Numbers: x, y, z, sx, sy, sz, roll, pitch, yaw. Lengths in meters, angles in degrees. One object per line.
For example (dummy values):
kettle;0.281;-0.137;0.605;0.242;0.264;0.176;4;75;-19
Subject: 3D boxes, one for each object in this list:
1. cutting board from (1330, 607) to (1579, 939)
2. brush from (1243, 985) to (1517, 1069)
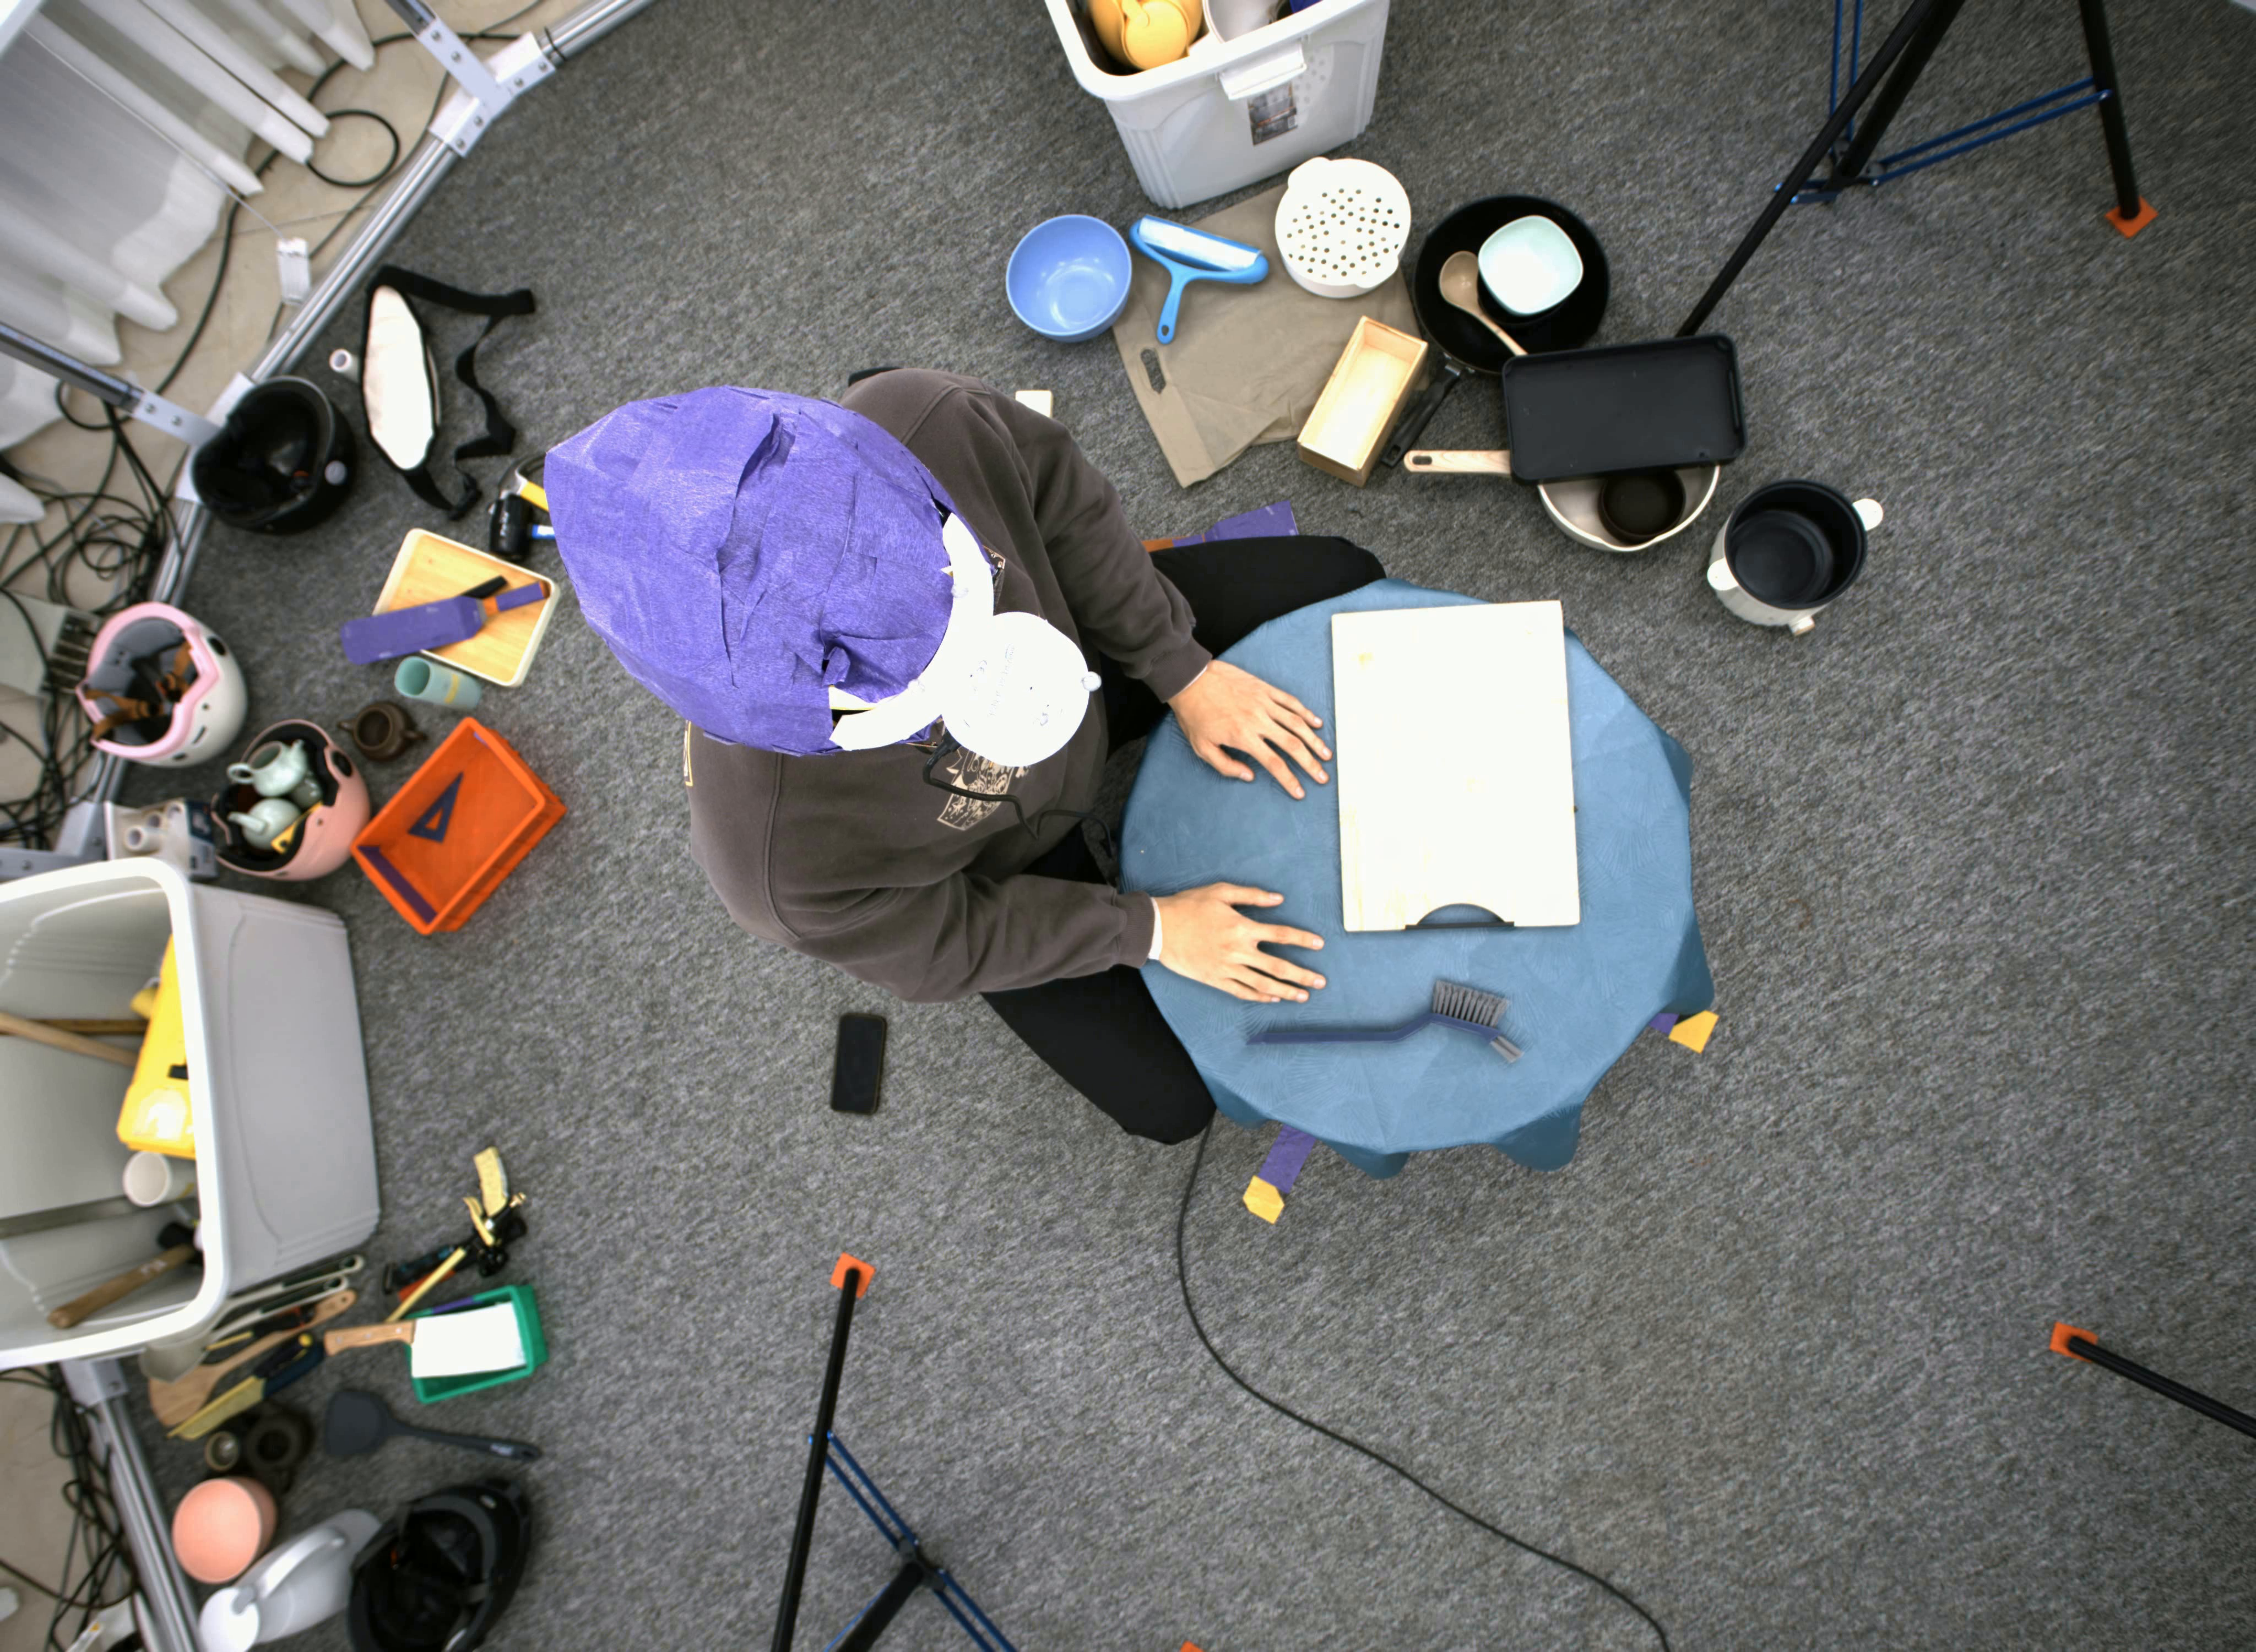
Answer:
cutting board;0.340;-0.059;1.443;0.252;0.023;0.347;-3;87;11
brush;0.260;0.222;1.437;0.274;0.033;0.095;-10;85;9
